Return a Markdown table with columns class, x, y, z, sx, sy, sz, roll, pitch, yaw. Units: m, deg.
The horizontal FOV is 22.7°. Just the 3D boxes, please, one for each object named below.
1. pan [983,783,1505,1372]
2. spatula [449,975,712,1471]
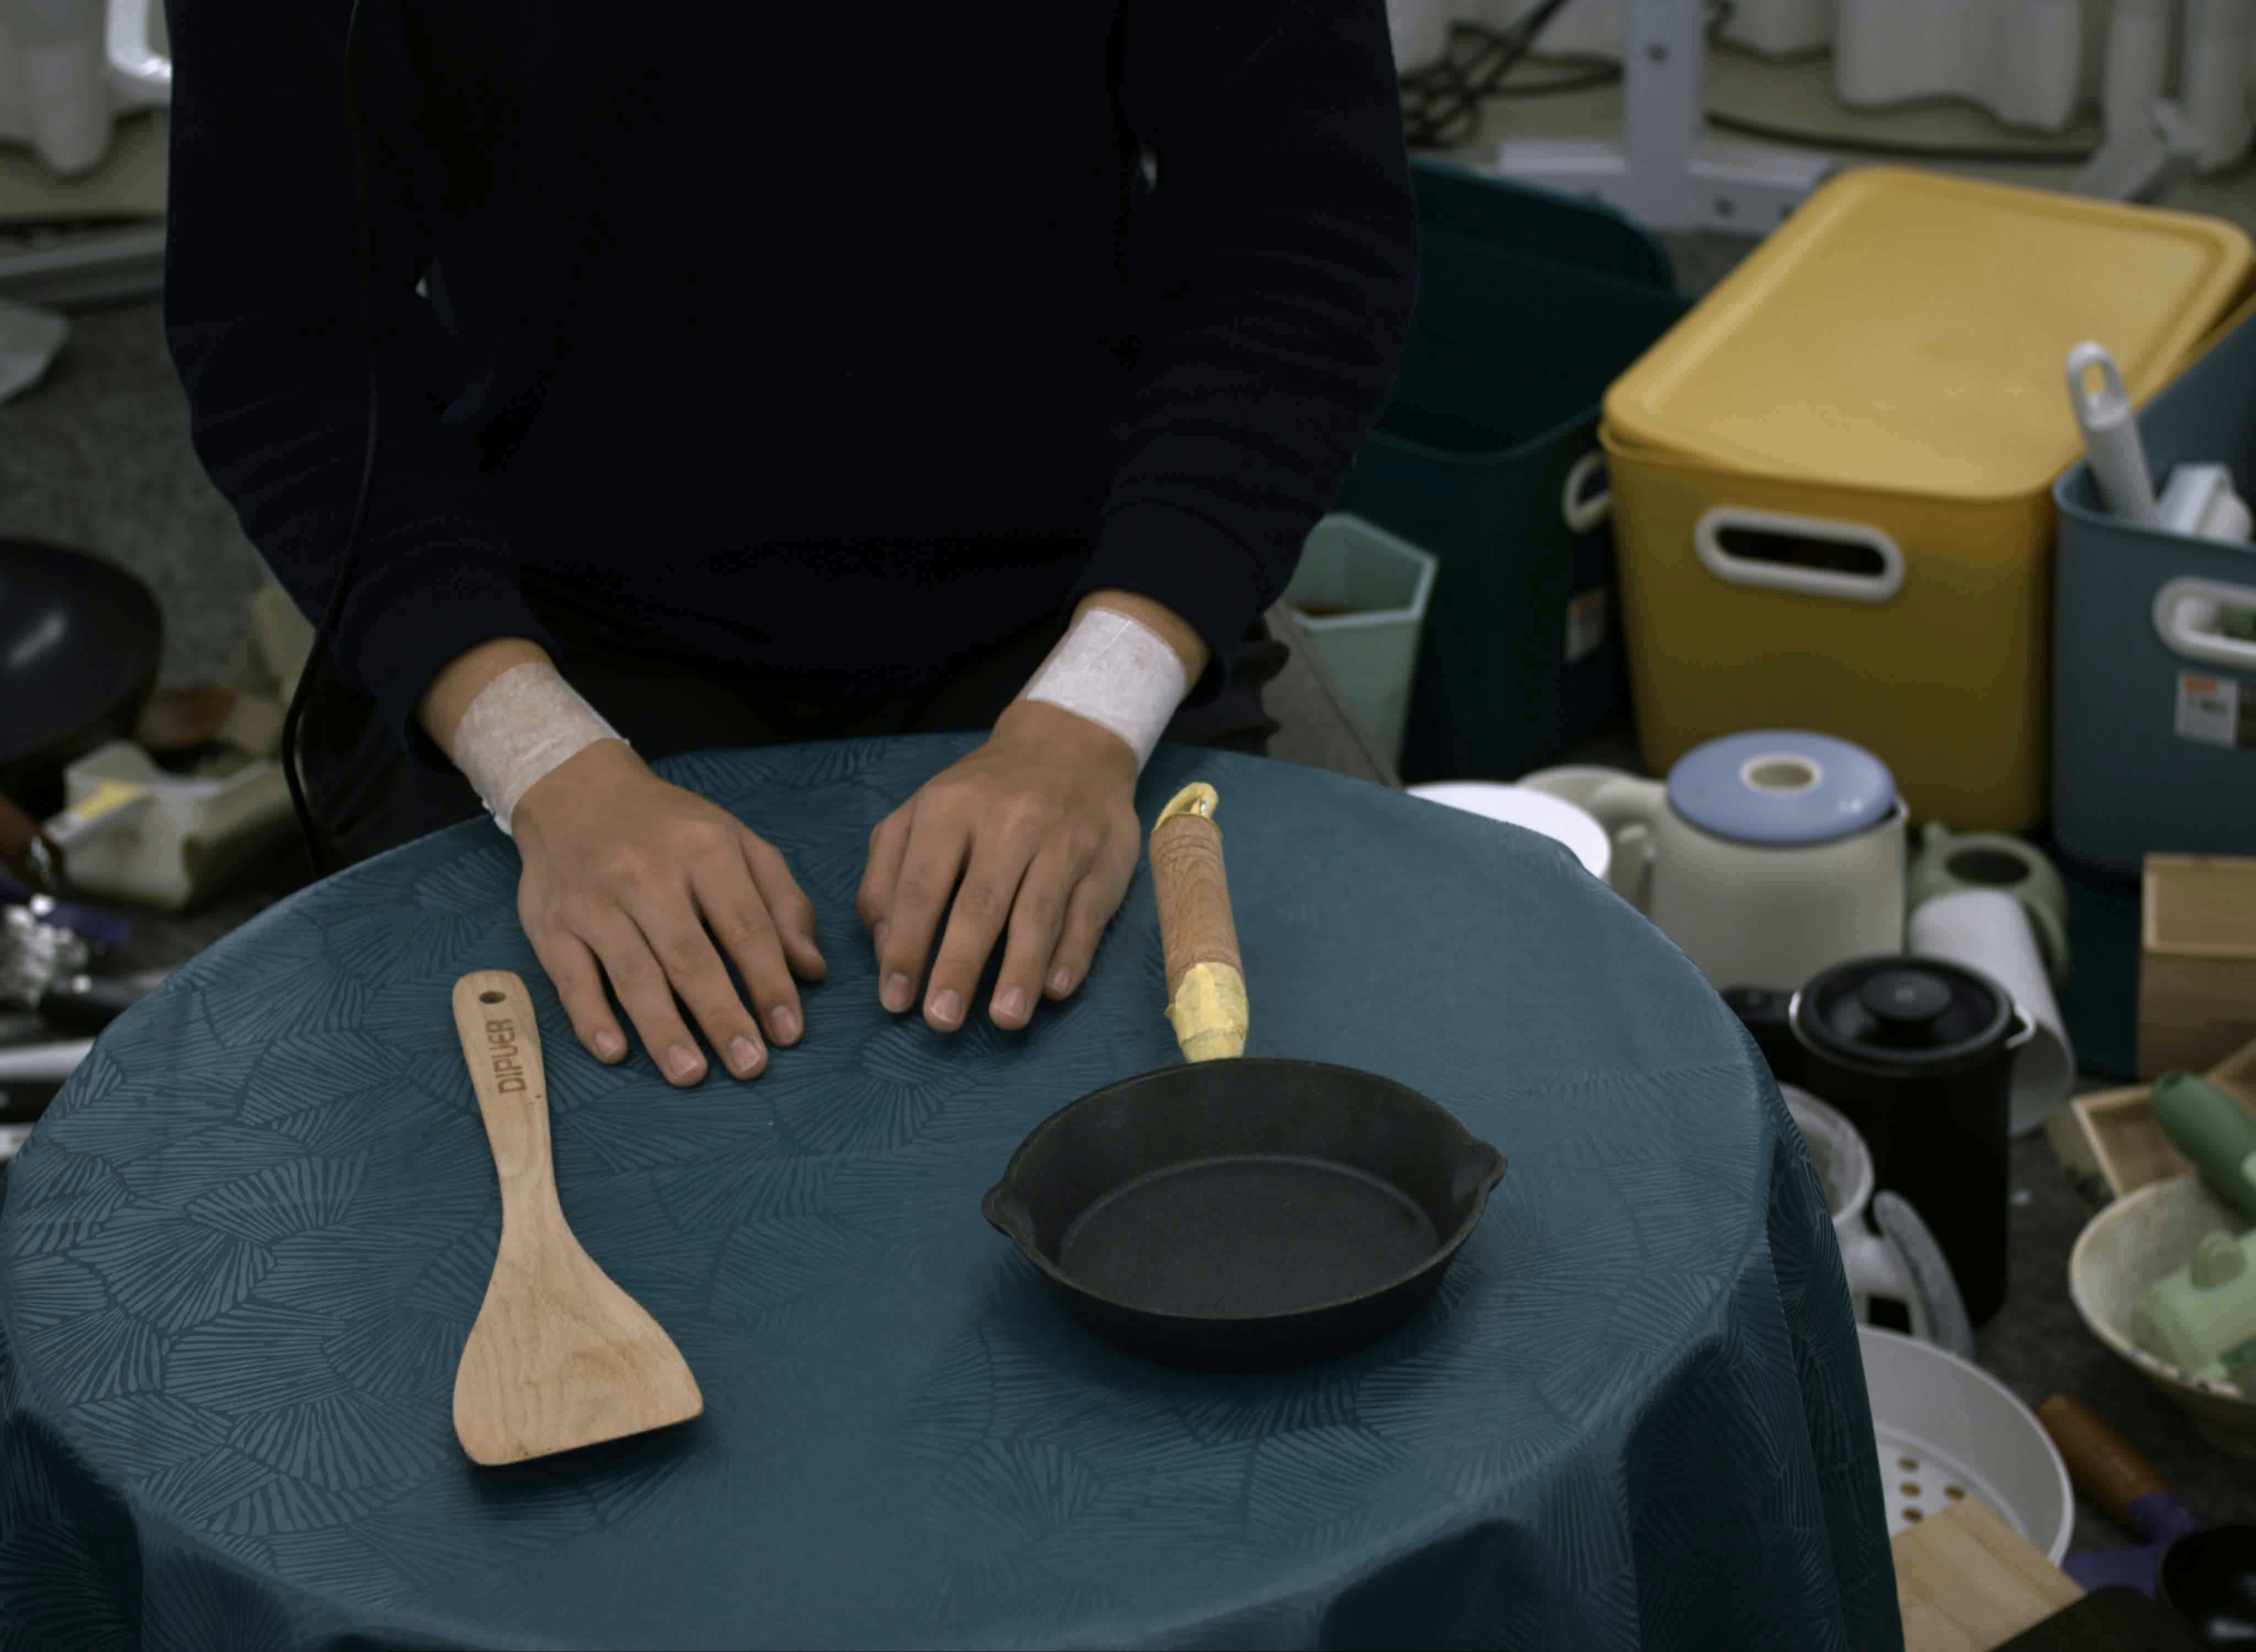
| class | x | y | z | sx | sy | sz | roll | pitch | yaw |
| --- | --- | --- | --- | --- | --- | --- | --- | --- | --- |
| pan | 0.033 | 0.081 | 1.882 | 0.168 | 0.049 | 0.329 | -4 | 29 | -1 |
| spatula | -0.196 | 0.125 | 1.858 | 0.080 | 0.016 | 0.331 | -7 | 28 | -9 |
